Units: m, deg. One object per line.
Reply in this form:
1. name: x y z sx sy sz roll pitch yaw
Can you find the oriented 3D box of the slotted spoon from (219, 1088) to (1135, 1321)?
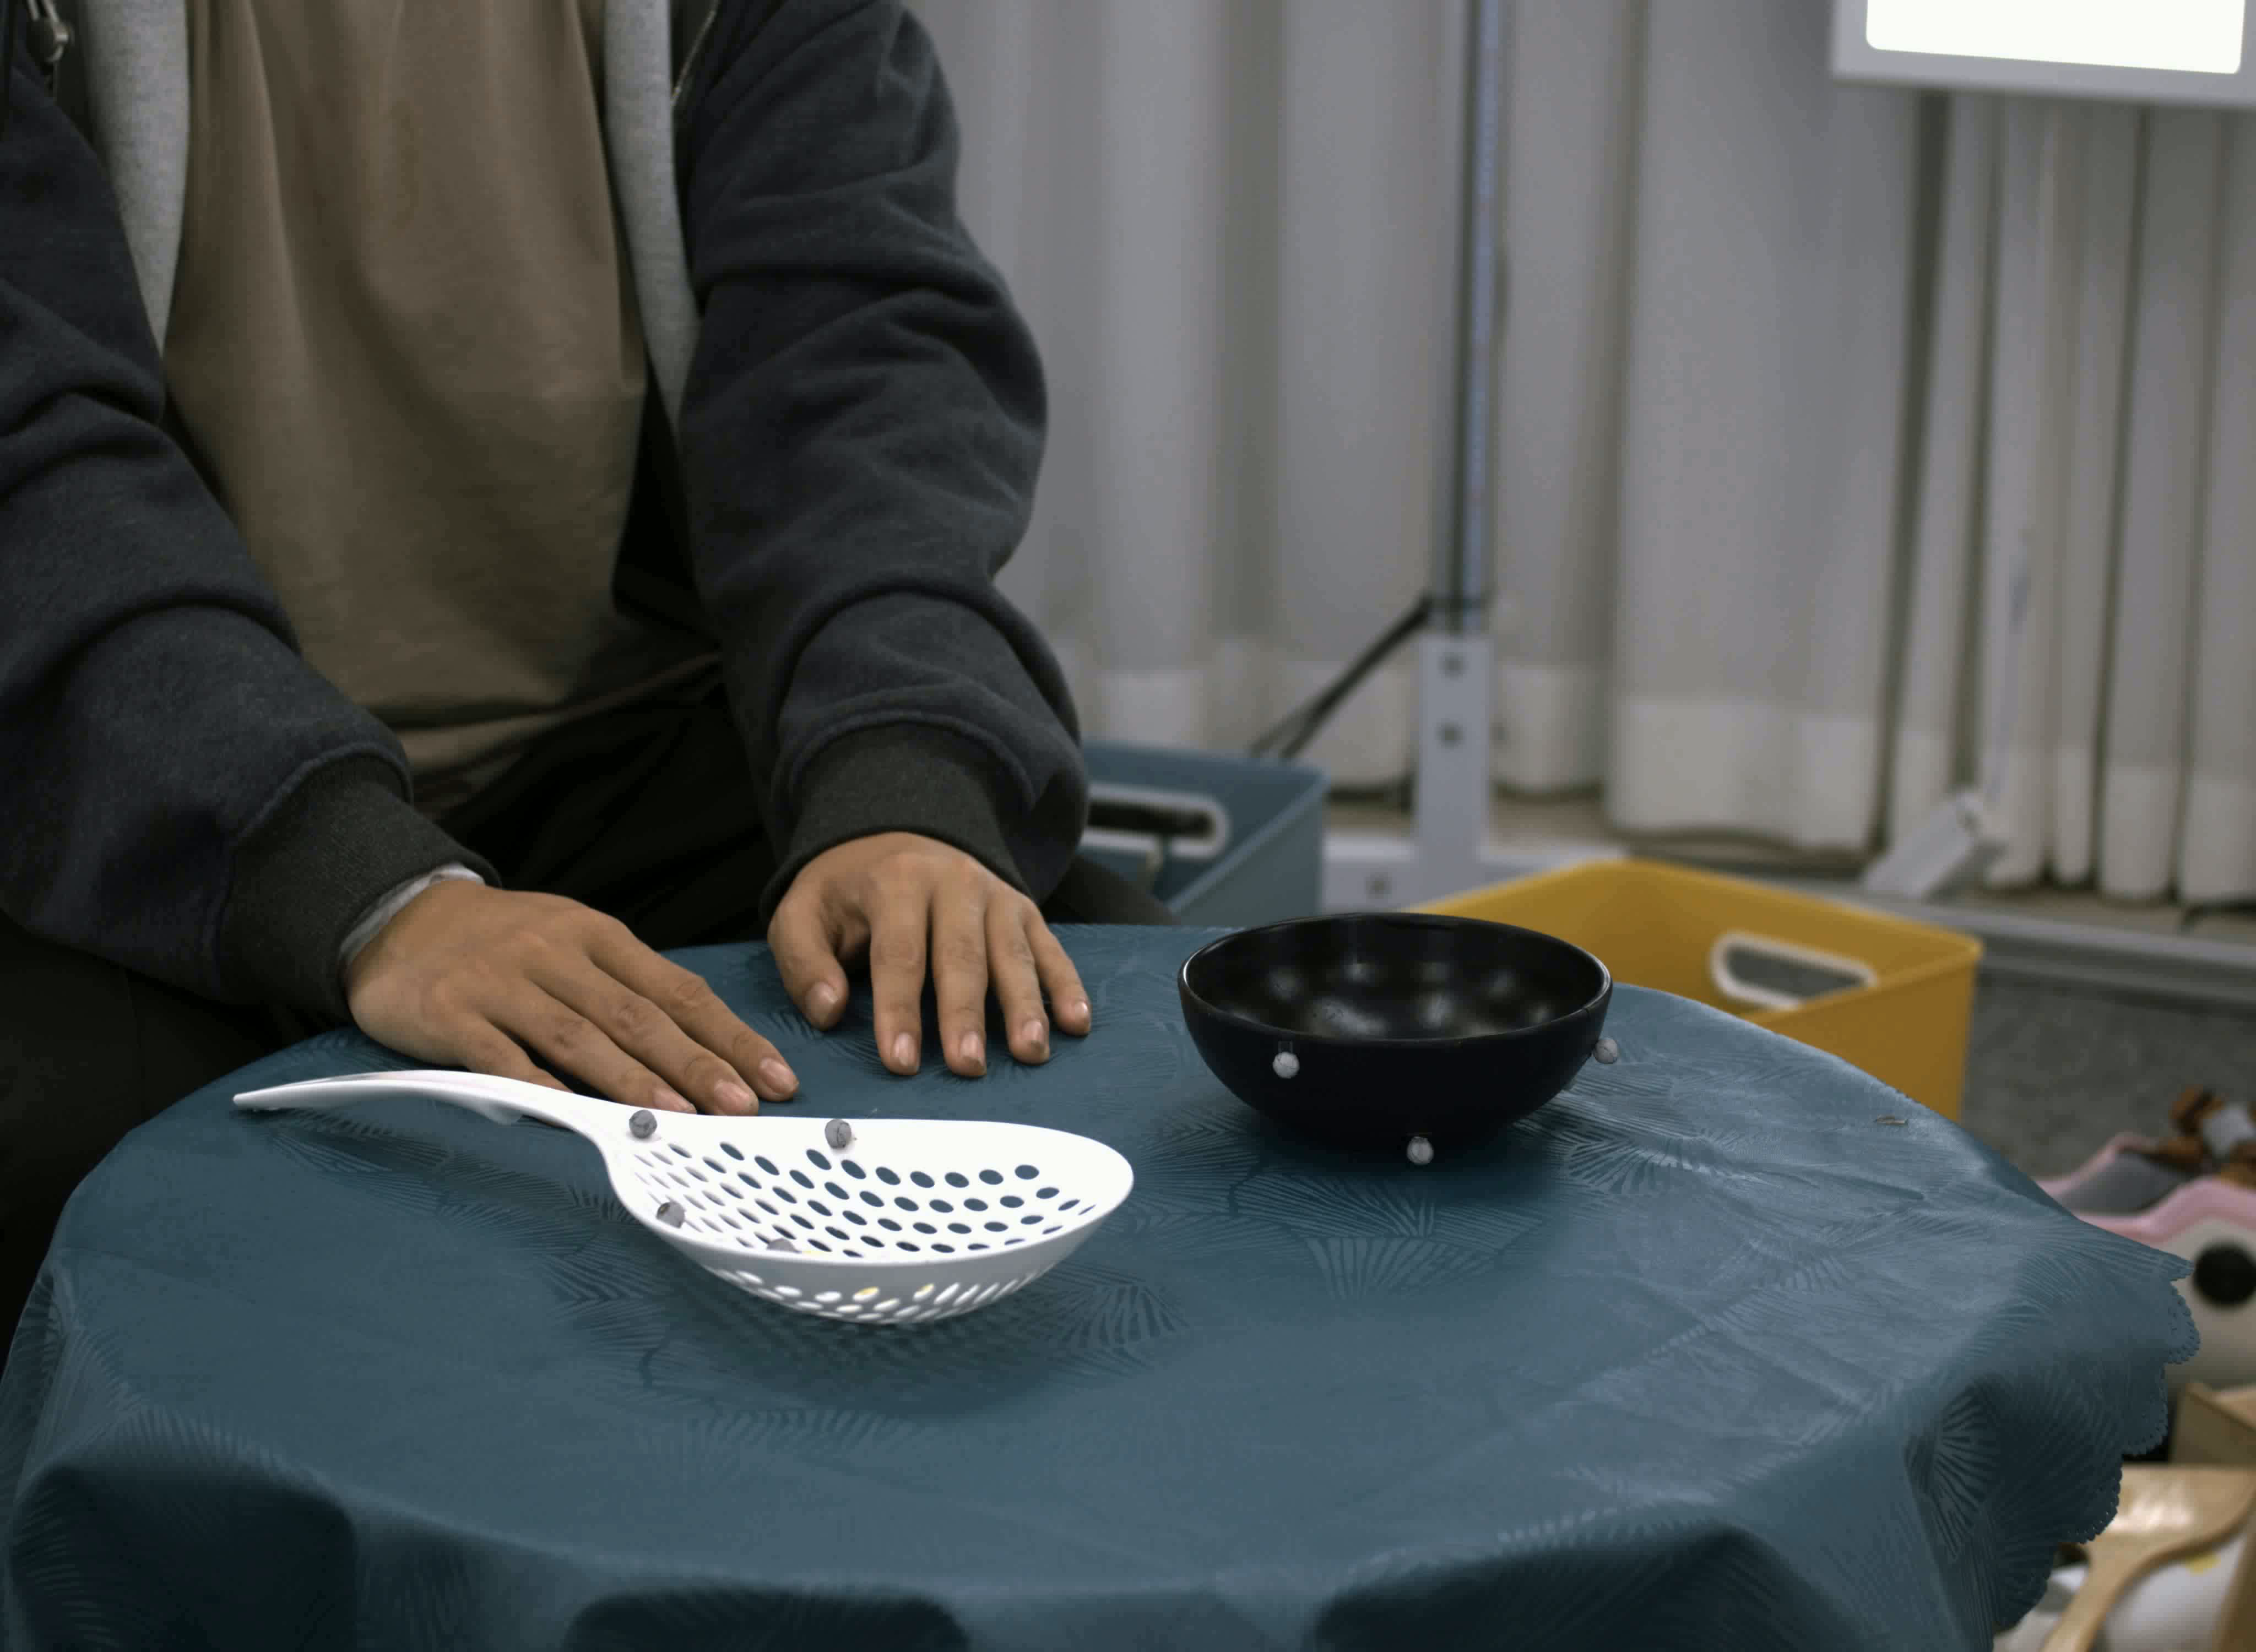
1. slotted spoon: -0.150 0.101 1.583 0.343 0.051 0.137 12 23 37
